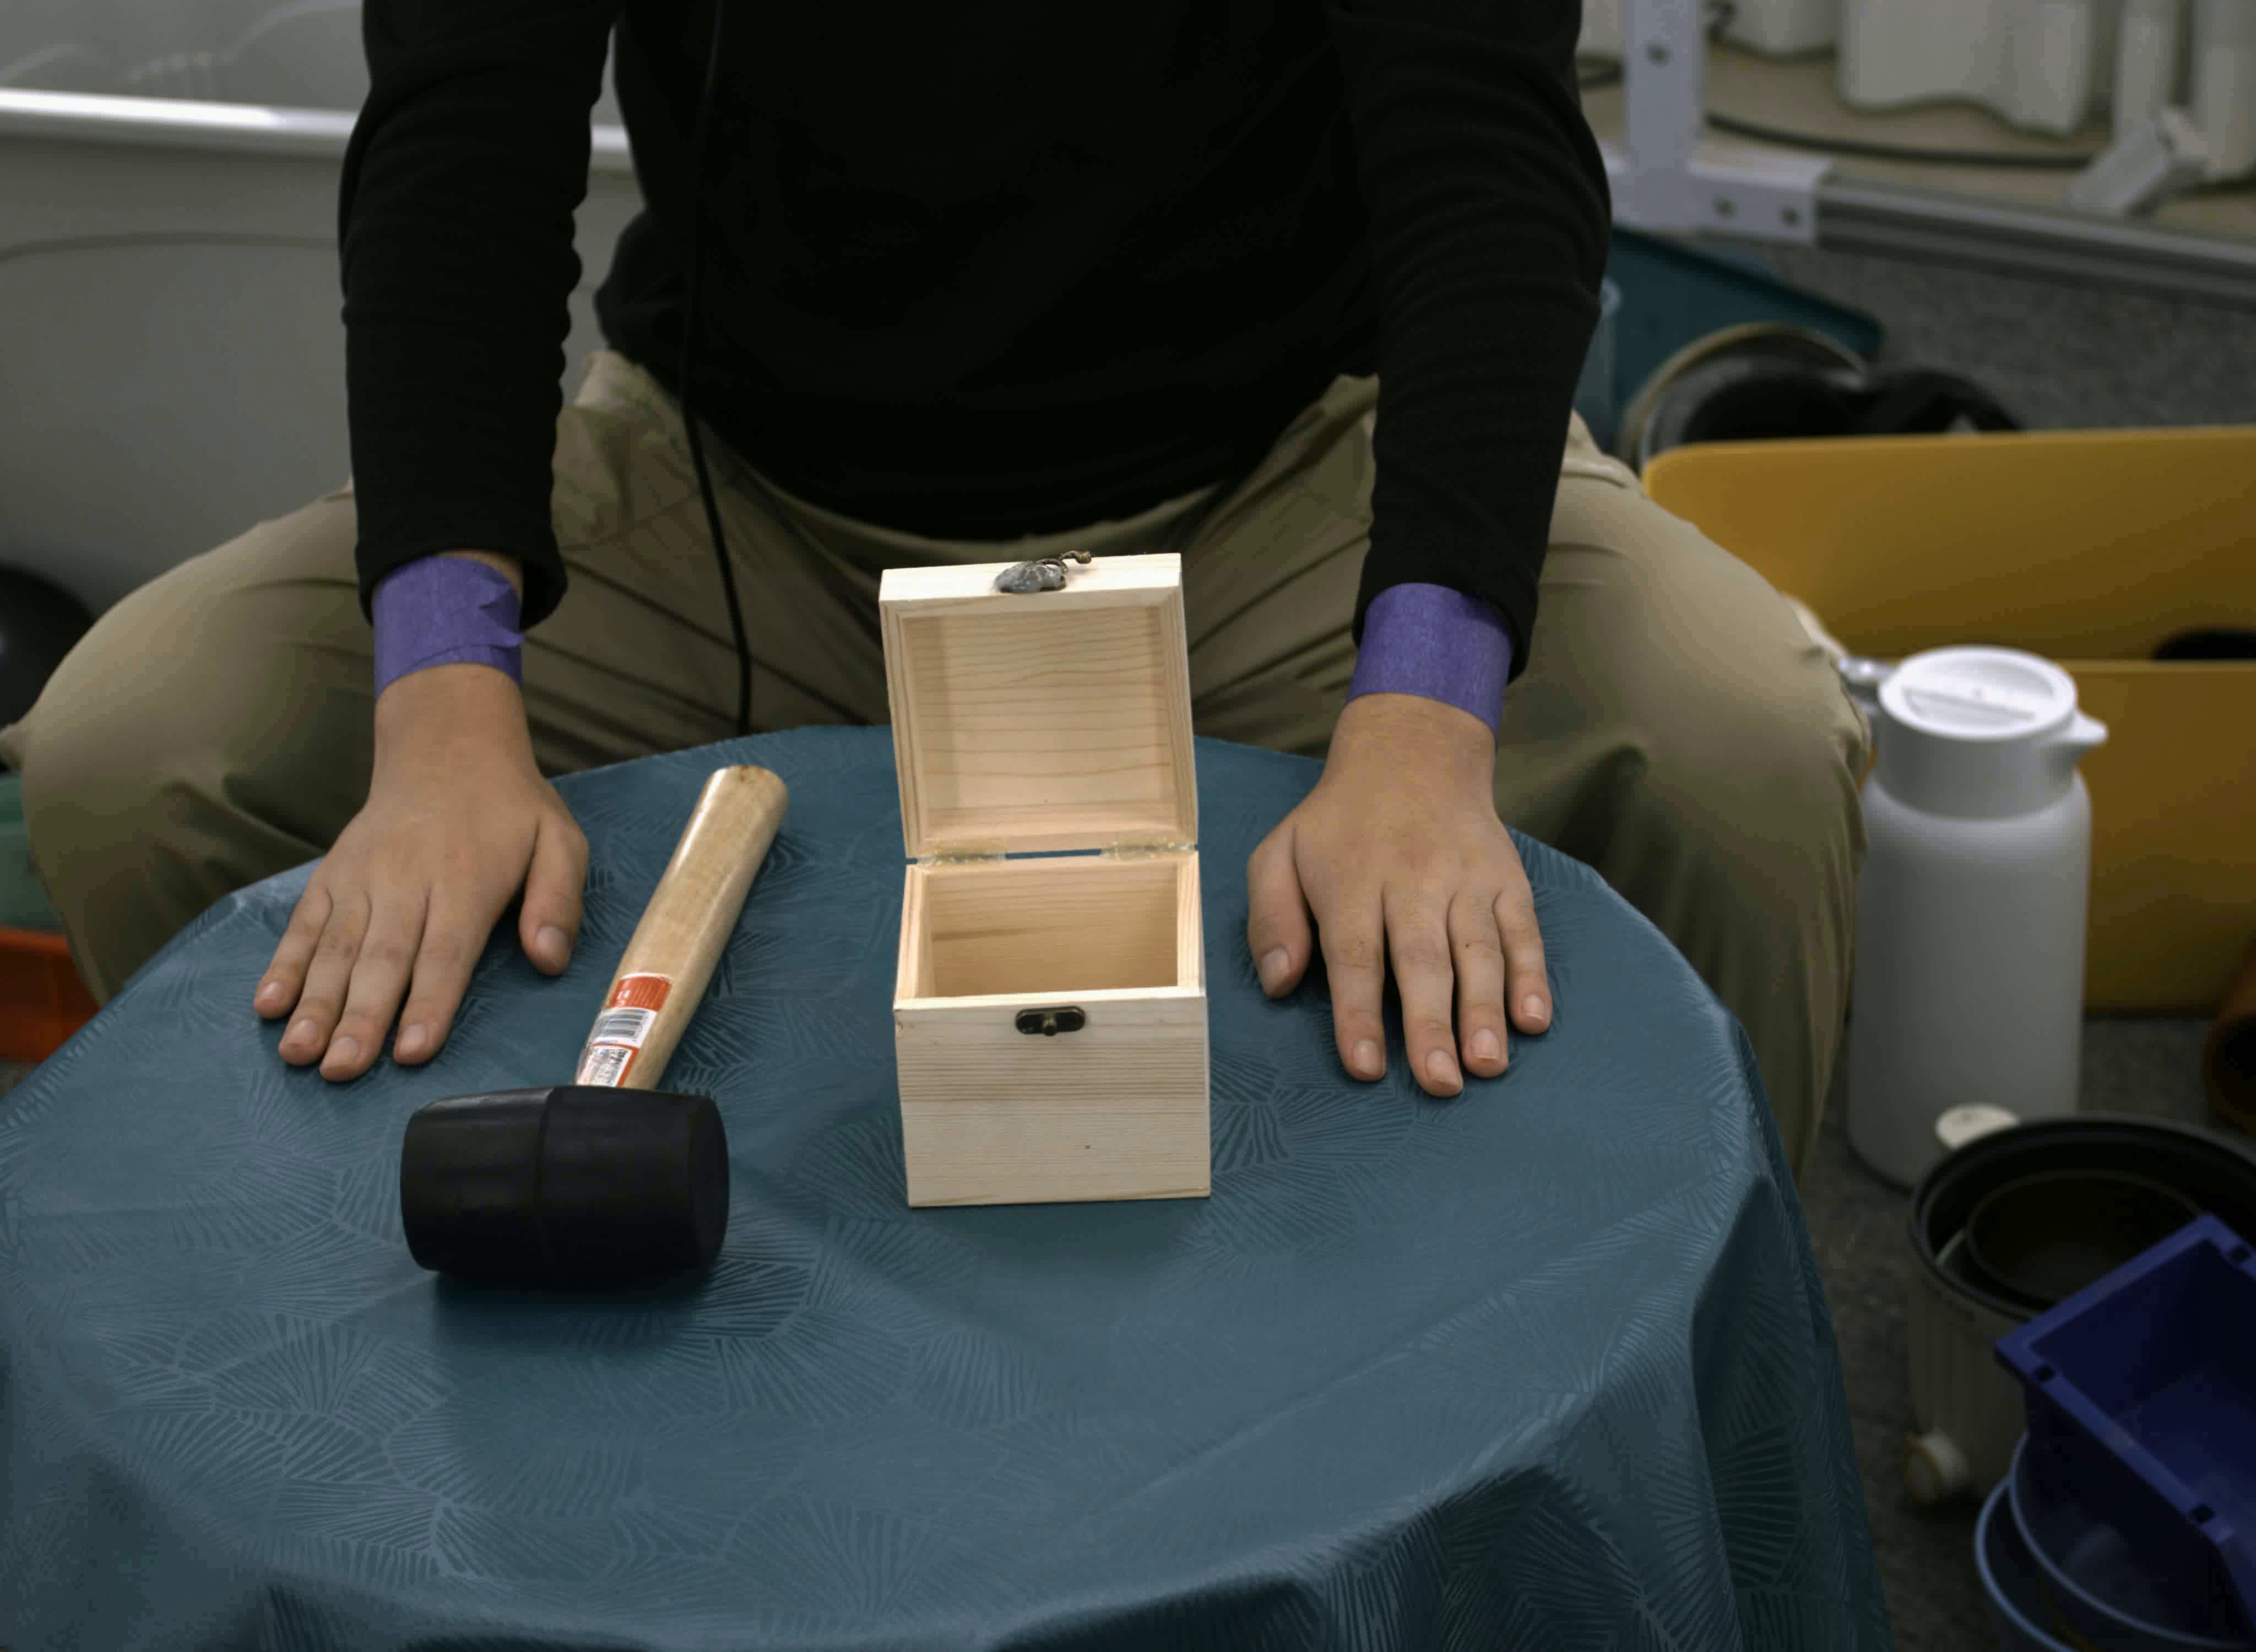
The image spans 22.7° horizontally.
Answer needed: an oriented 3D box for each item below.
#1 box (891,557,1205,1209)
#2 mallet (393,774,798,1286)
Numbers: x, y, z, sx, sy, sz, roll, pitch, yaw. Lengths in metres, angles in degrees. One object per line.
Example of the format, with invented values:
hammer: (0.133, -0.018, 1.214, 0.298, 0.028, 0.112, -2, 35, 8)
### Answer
box: (-0.027, 0.018, 1.869, 0.102, 0.183, 0.136, -2, 24, 1)
mallet: (-0.164, 0.054, 1.941, 0.101, 0.063, 0.344, 2, 27, 8)
